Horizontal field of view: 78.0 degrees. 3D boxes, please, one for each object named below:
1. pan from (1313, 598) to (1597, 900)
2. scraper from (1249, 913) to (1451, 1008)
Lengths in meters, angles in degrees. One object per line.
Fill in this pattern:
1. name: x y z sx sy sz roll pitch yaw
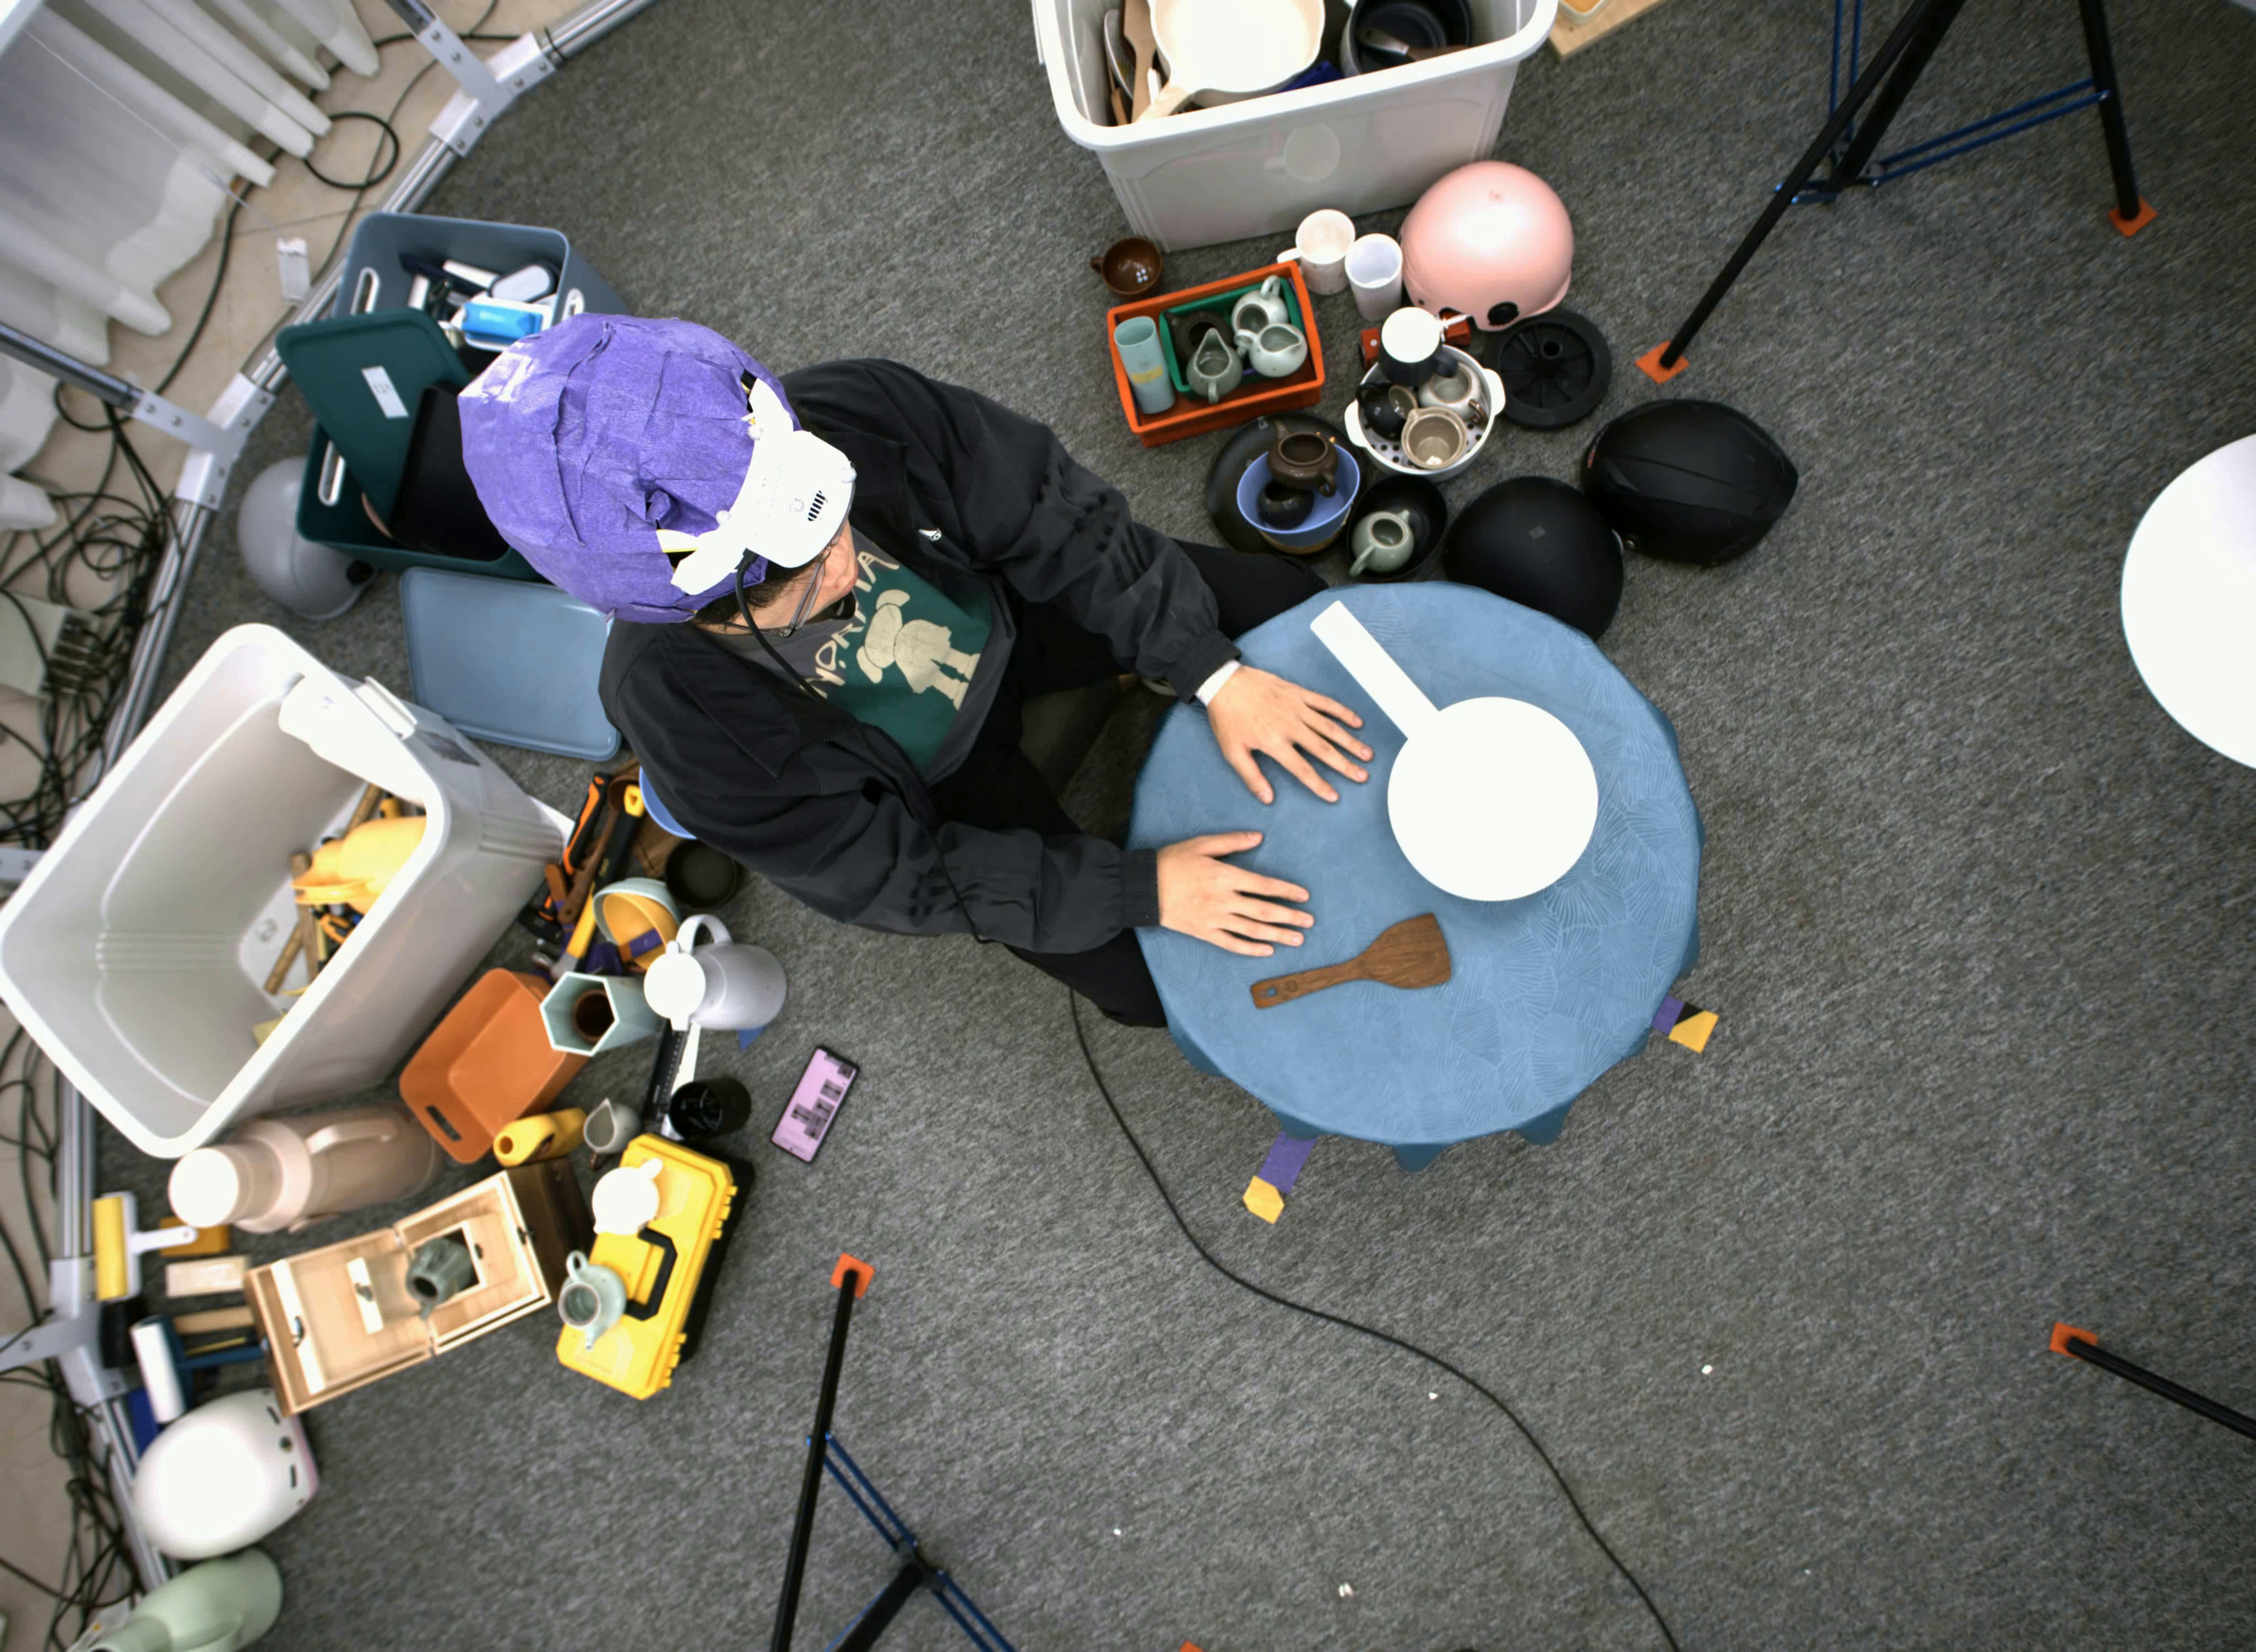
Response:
1. pan: 0.319 -0.083 1.409 0.202 0.102 0.352 -41 79 7
2. scraper: 0.231 0.151 1.457 0.212 0.011 0.075 -16 83 10
